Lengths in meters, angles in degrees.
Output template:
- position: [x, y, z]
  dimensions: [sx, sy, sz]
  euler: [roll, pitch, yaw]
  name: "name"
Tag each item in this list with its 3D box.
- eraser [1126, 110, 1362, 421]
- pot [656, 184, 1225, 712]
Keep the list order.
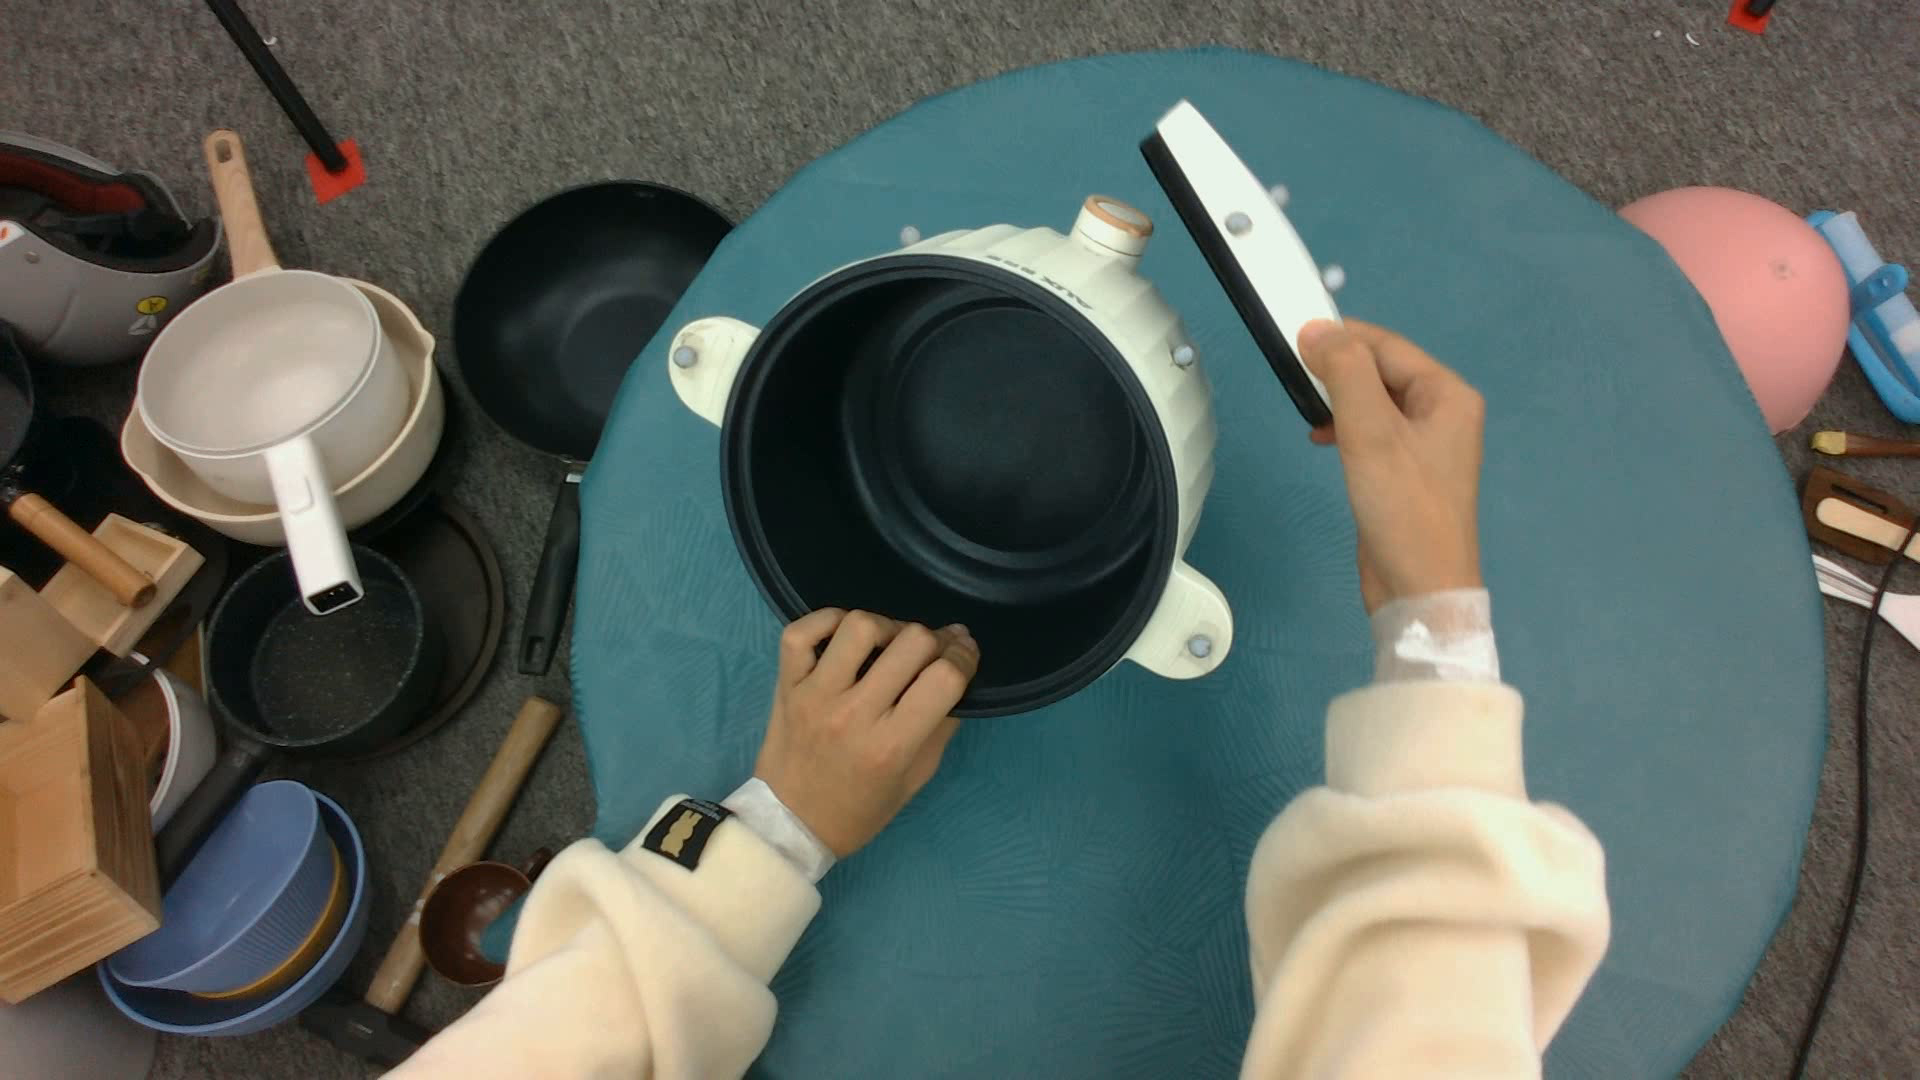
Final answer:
- position: [0.113, -0.107, 0.535]
  dimensions: [0.034, 0.063, 0.131]
  euler: [-33, 80, 19]
  name: "eraser"
- position: [0.010, -0.046, 0.565]
  dimensions: [0.240, 0.189, 0.143]
  euler: [28, 30, 7]
  name: "pot"
